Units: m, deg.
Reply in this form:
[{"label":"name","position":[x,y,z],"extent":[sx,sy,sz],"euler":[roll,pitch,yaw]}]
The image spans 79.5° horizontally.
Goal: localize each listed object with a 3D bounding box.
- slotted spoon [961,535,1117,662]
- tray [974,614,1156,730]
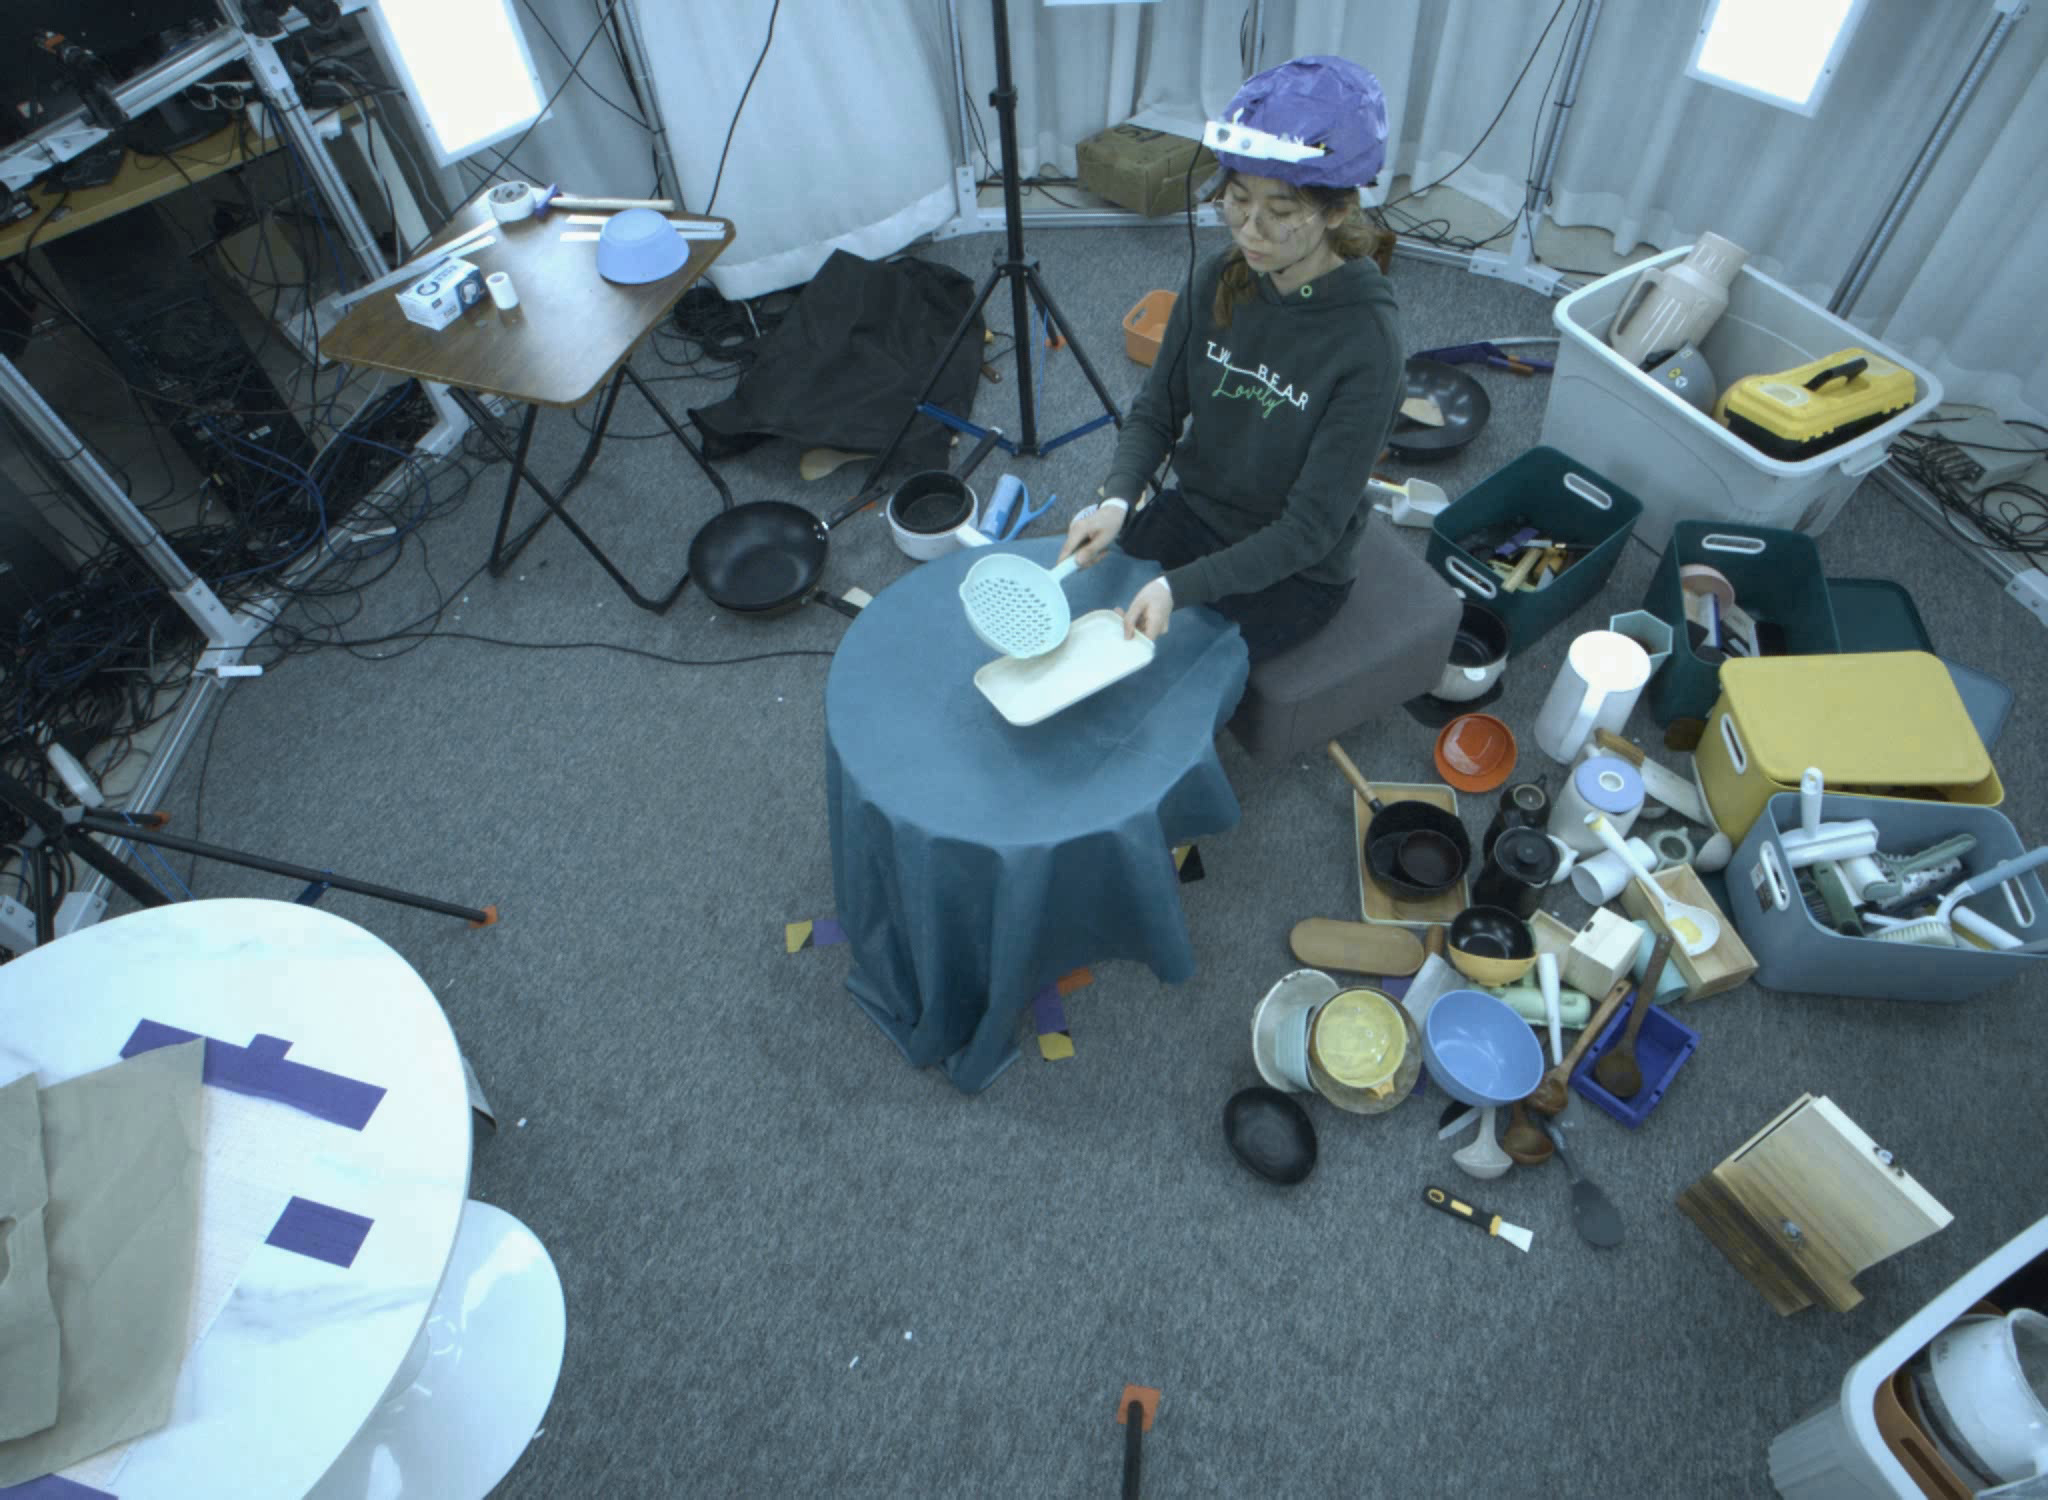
[{"label":"slotted spoon","position":[0.044,-0.253,1.852],"extent":[0.169,0.074,0.361],"euler":[49,58,-2]},{"label":"tray","position":[0.058,-0.113,1.772],"extent":[0.241,0.018,0.167],"euler":[-27,40,-13]}]
